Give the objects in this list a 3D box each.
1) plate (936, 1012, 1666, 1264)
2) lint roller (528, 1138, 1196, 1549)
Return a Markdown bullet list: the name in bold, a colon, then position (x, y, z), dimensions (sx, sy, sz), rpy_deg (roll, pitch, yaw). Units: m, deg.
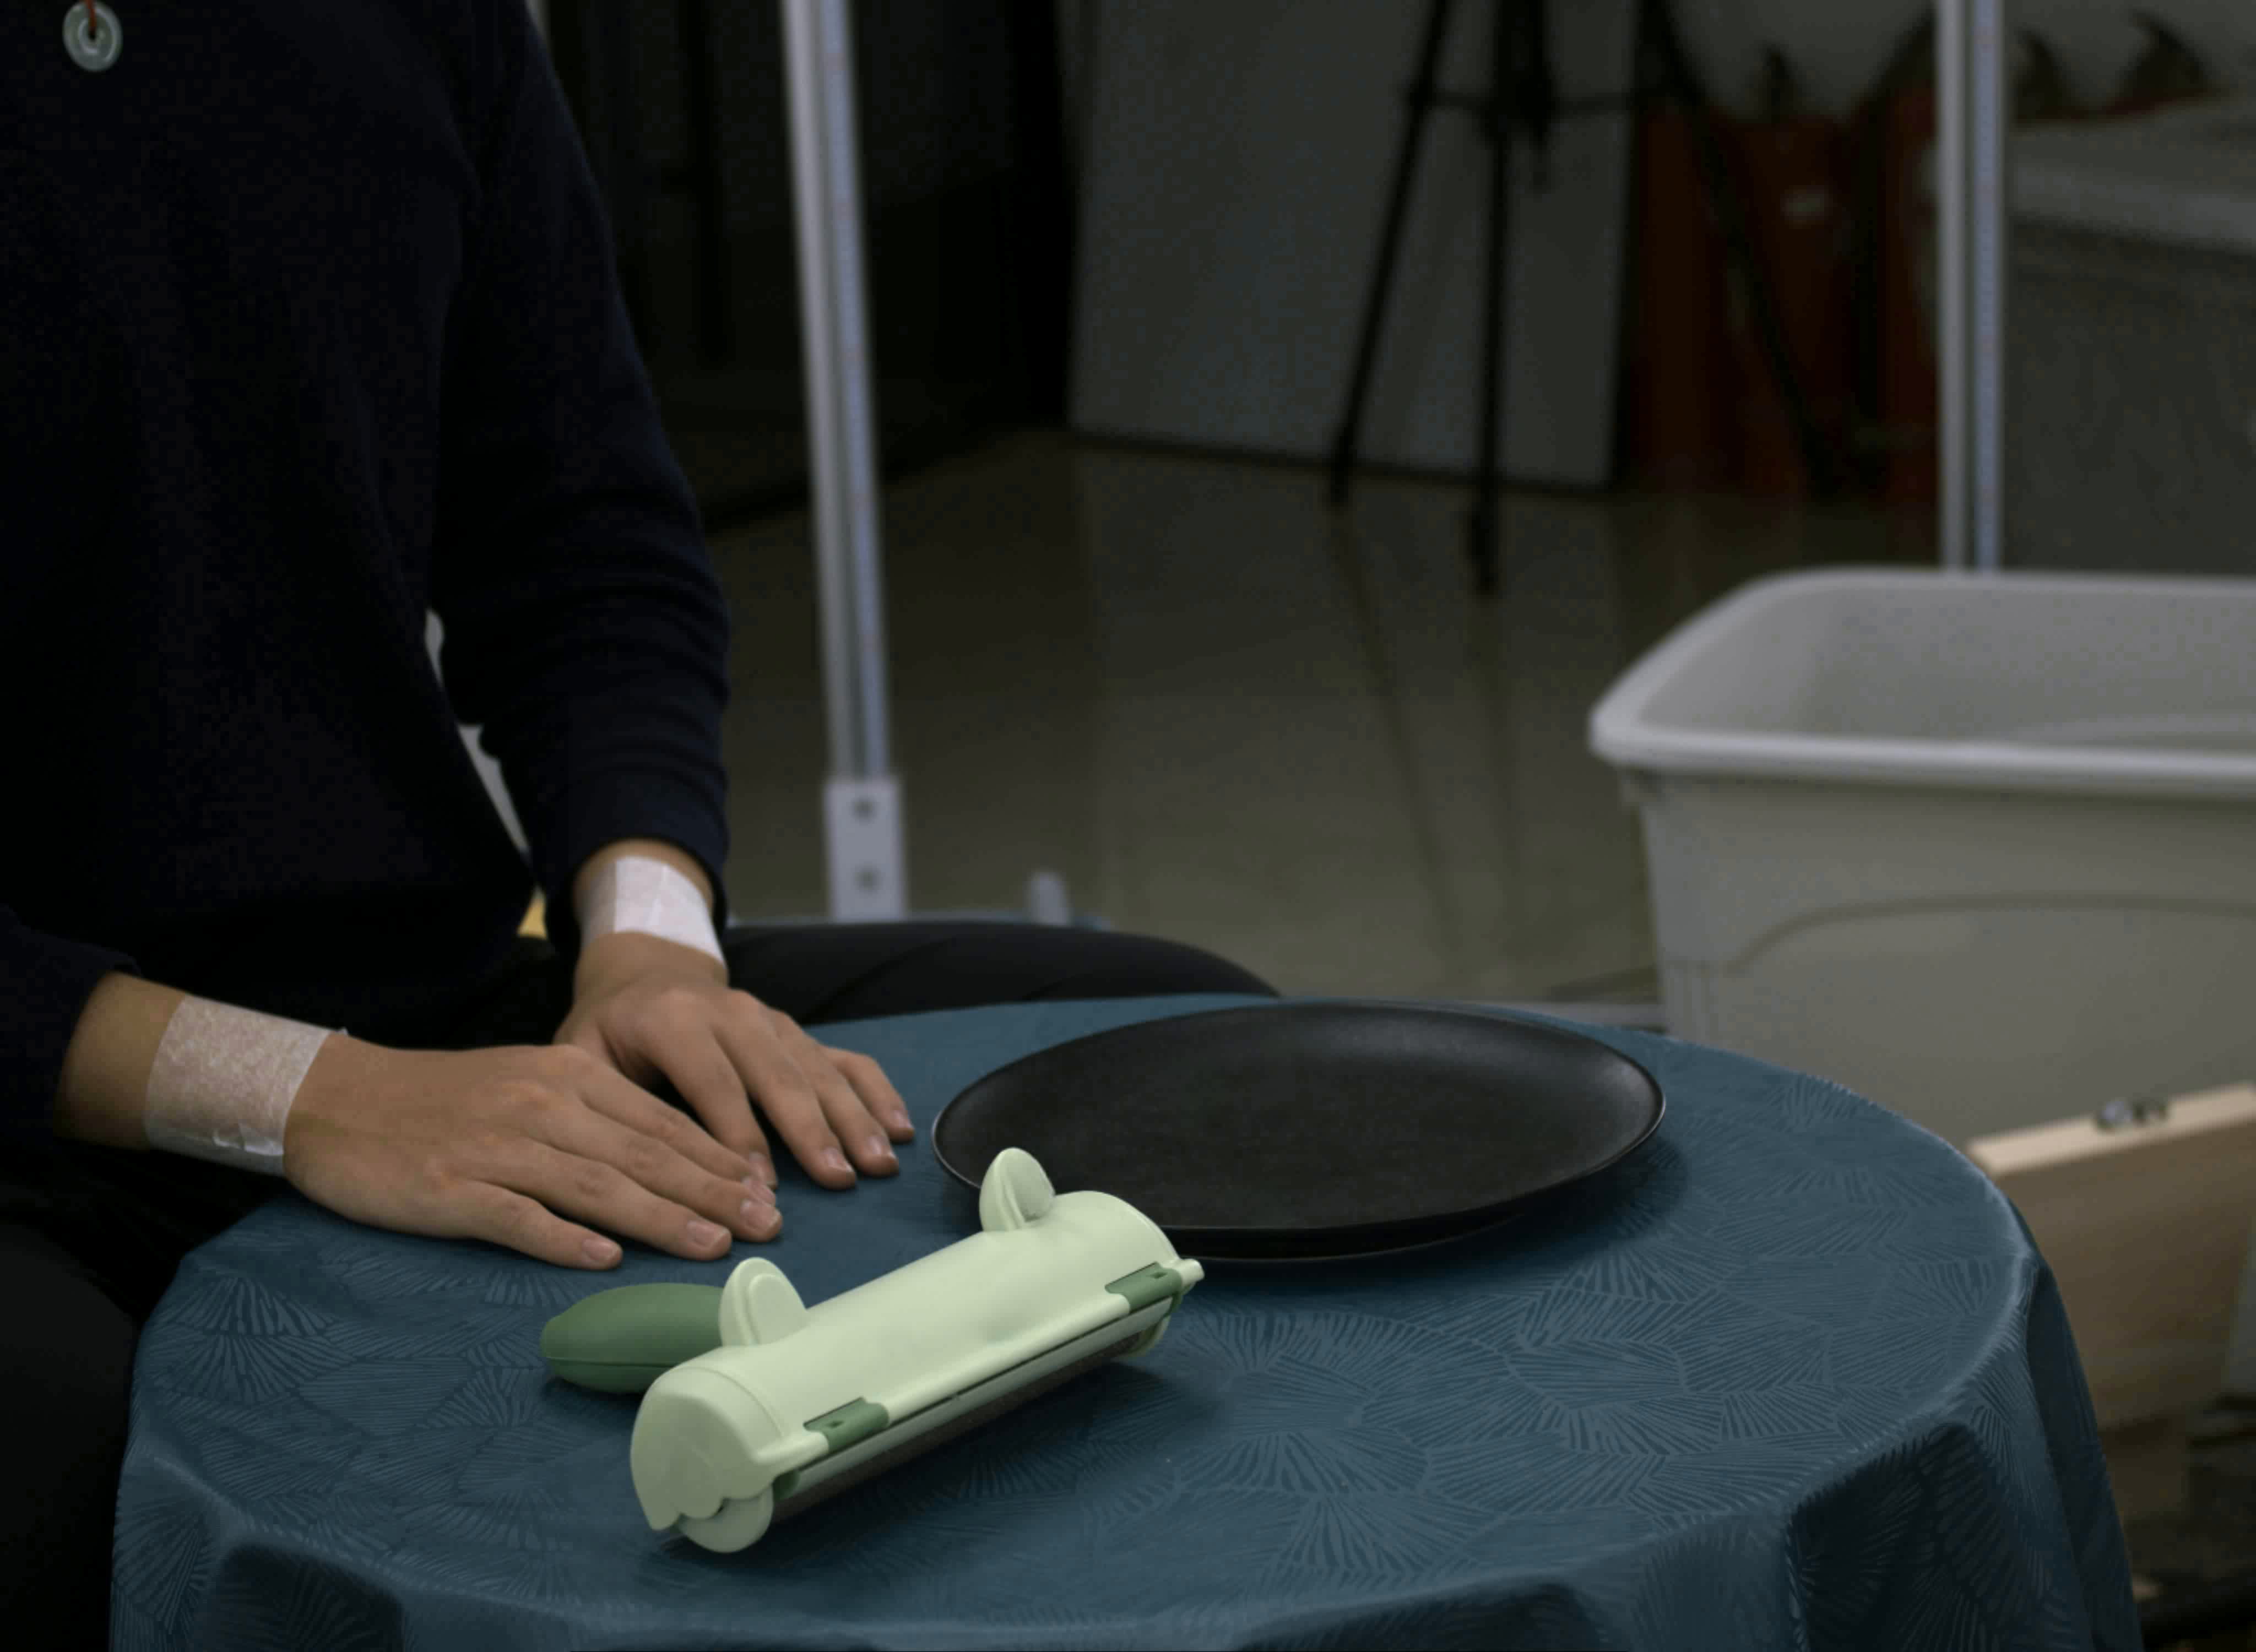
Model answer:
- **plate**: position (0.057, 0.104, 1.773), dimensions (0.241, 0.024, 0.245), rpy_deg (-4, 14, 0)
- **lint roller**: position (-0.105, 0.134, 1.569), dimensions (0.184, 0.083, 0.195), rpy_deg (14, 21, 36)
